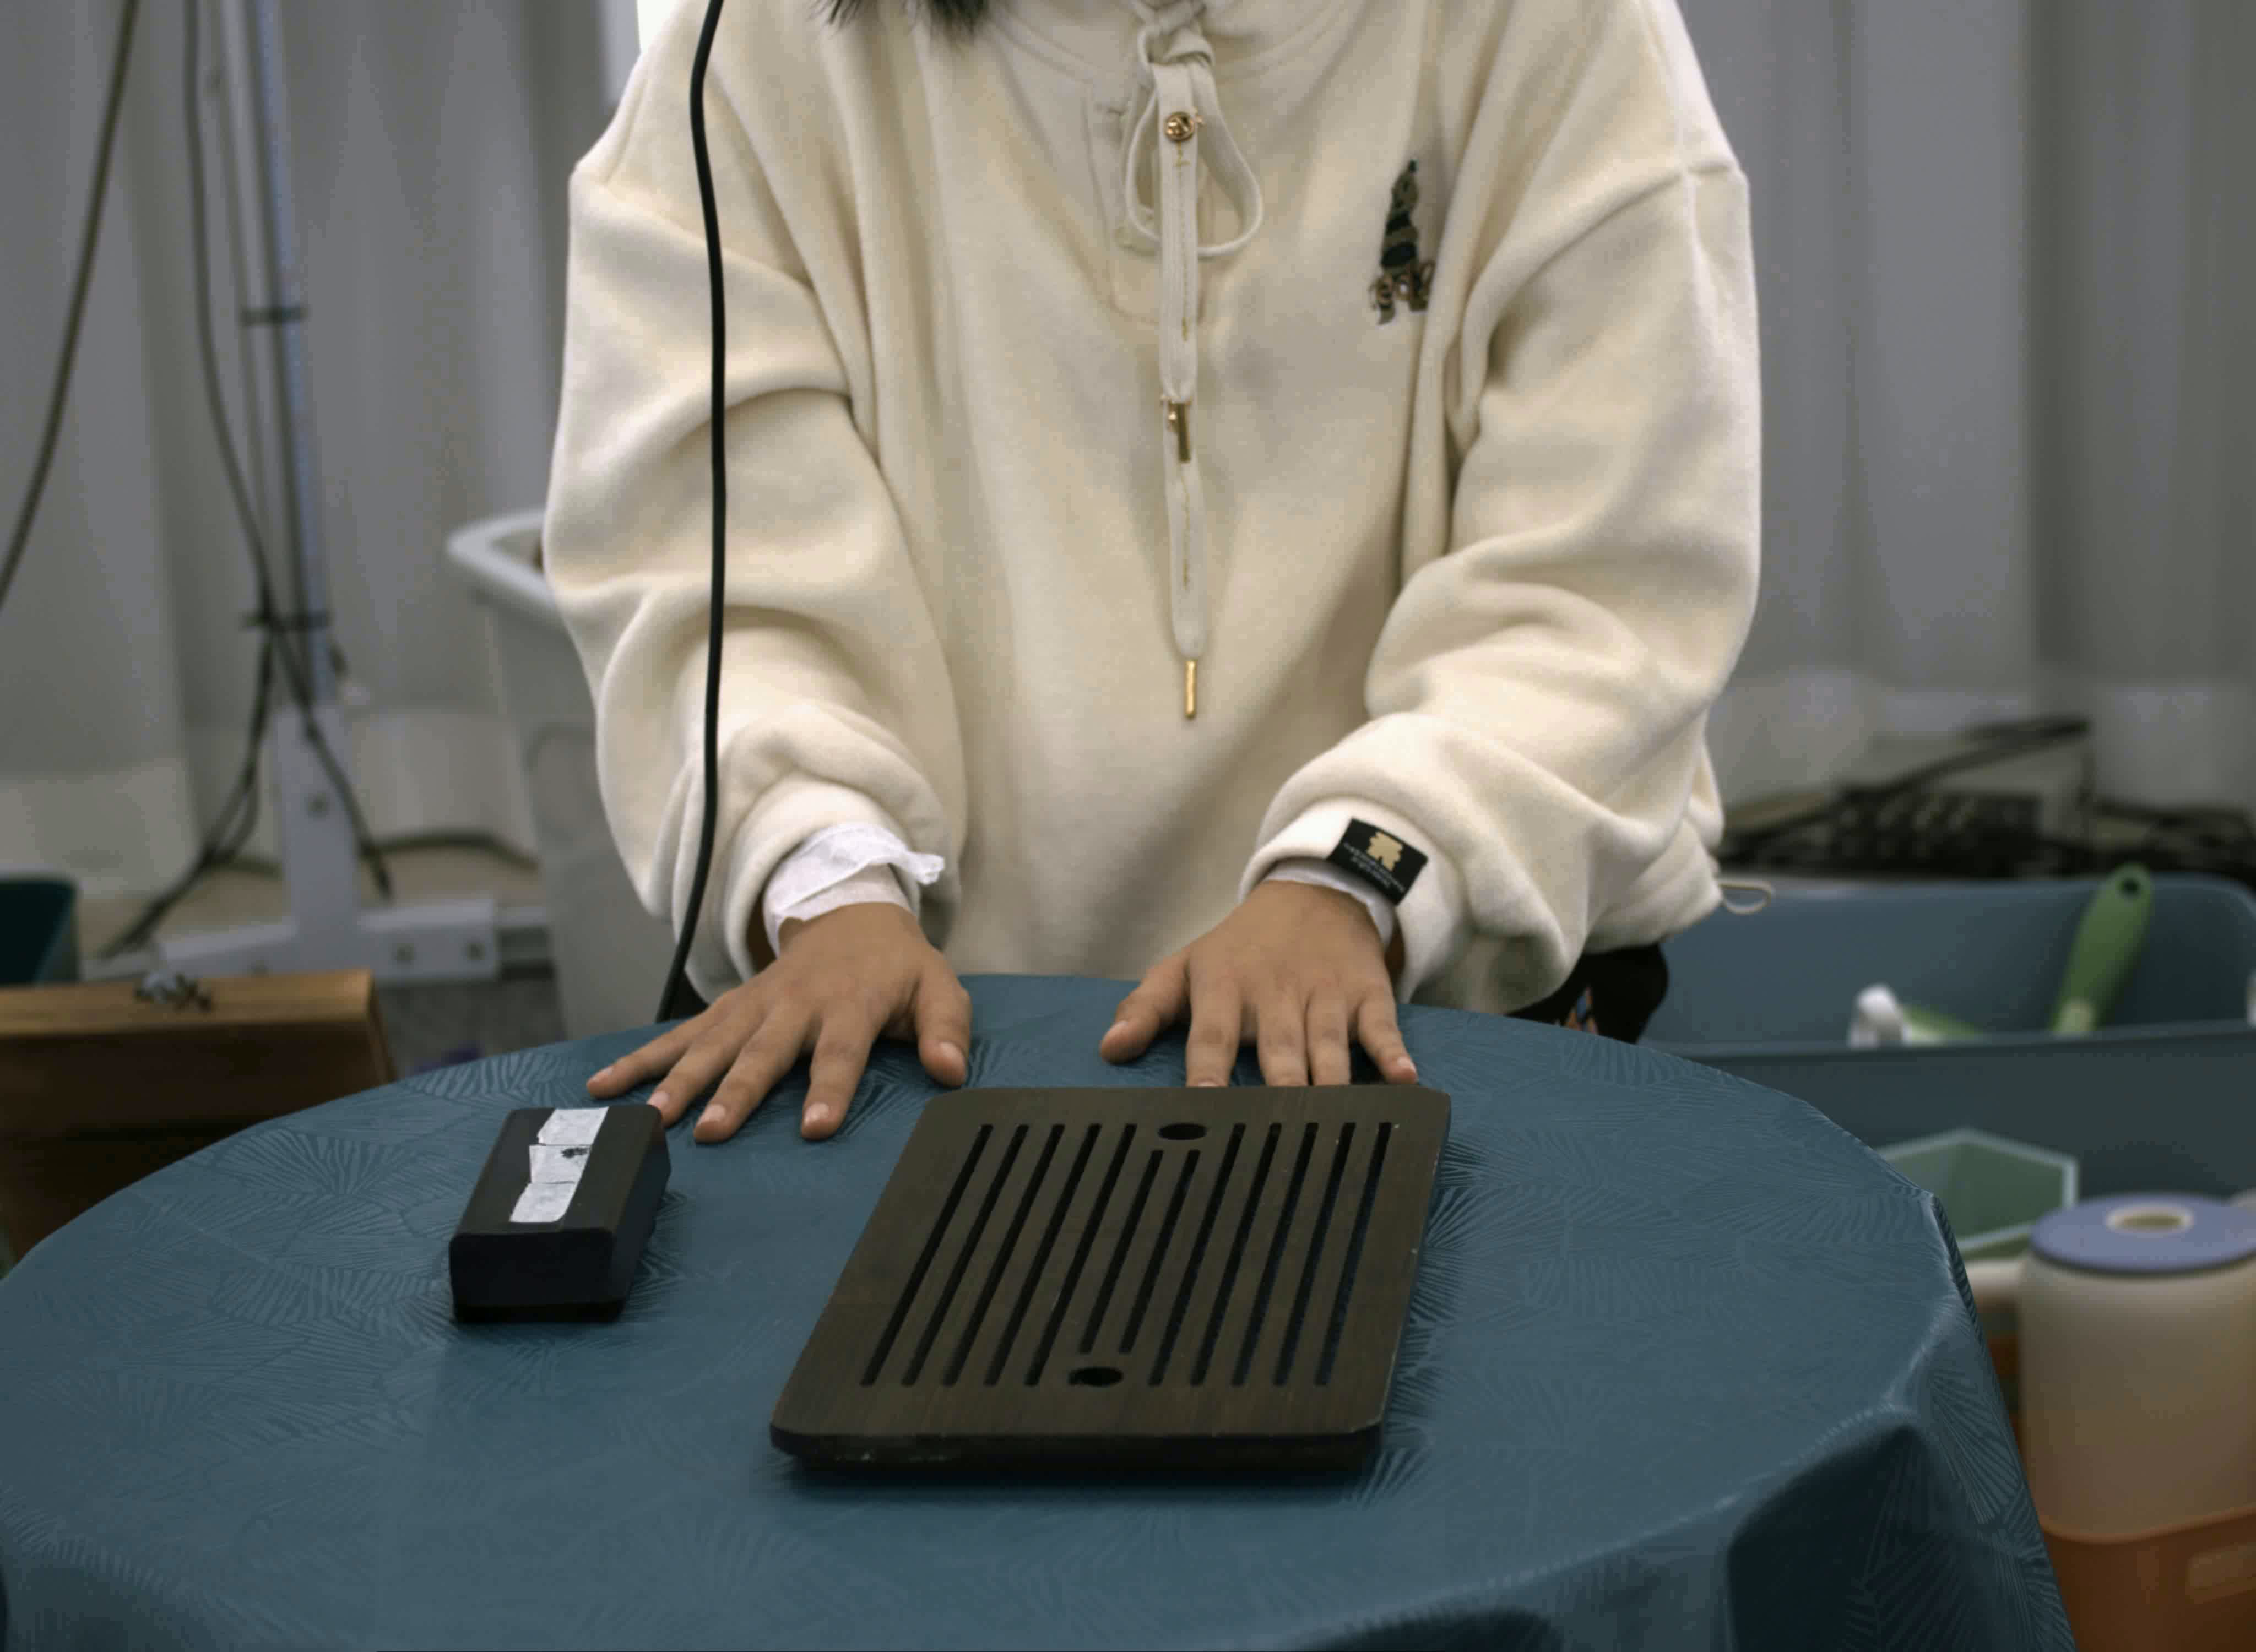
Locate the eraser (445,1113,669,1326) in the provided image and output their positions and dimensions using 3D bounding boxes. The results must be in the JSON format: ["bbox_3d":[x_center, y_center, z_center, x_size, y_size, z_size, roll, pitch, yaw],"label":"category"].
[{"bbox_3d":[-0.173,0.120,1.677,0.053,0.030,0.126,0,14,2],"label":"eraser"}]

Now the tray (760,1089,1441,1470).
[{"bbox_3d":[0.000,0.132,1.615,0.170,0.018,0.307,-1,15,7],"label":"tray"}]
